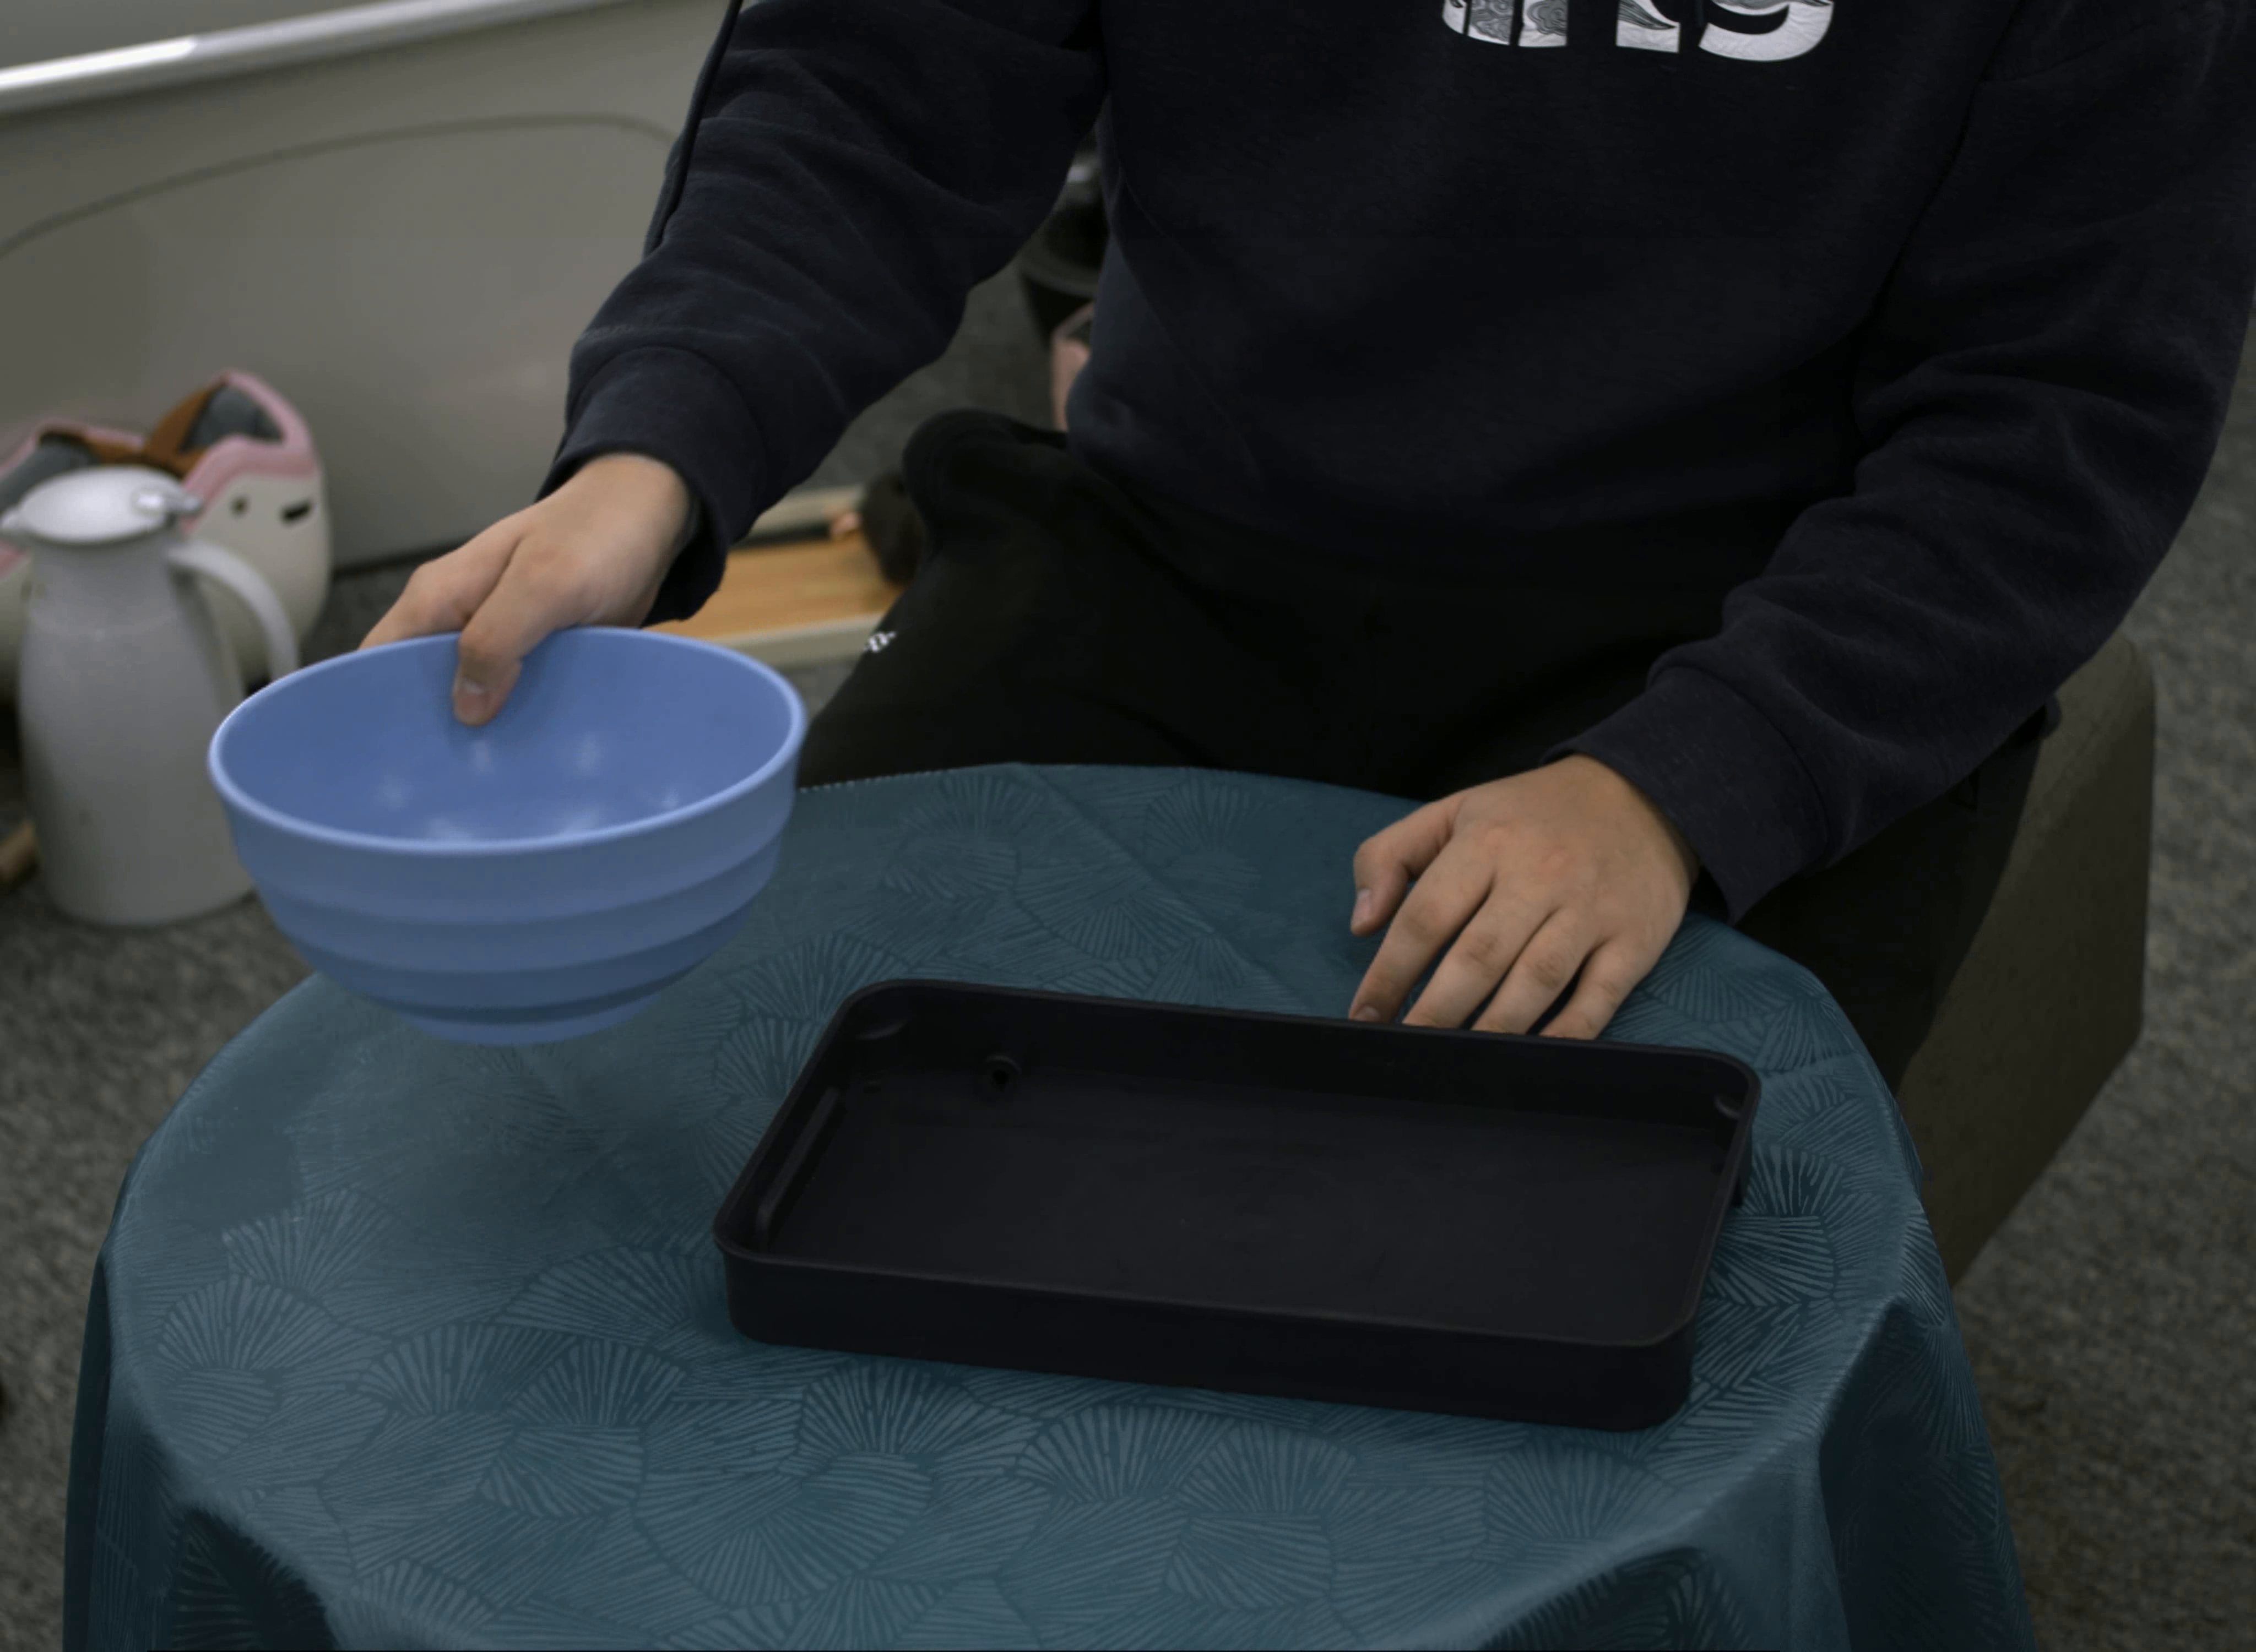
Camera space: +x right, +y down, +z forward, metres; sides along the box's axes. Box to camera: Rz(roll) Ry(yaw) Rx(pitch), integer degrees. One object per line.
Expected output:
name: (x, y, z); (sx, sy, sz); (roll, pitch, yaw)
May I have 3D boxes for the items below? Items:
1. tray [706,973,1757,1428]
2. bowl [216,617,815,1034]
tray: (0.036, 0.119, 1.827); (0.316, 0.036, 0.187); (5, 28, 13)
bowl: (-0.198, 0.008, 1.856); (0.195, 0.094, 0.199); (-2, 21, 1)
